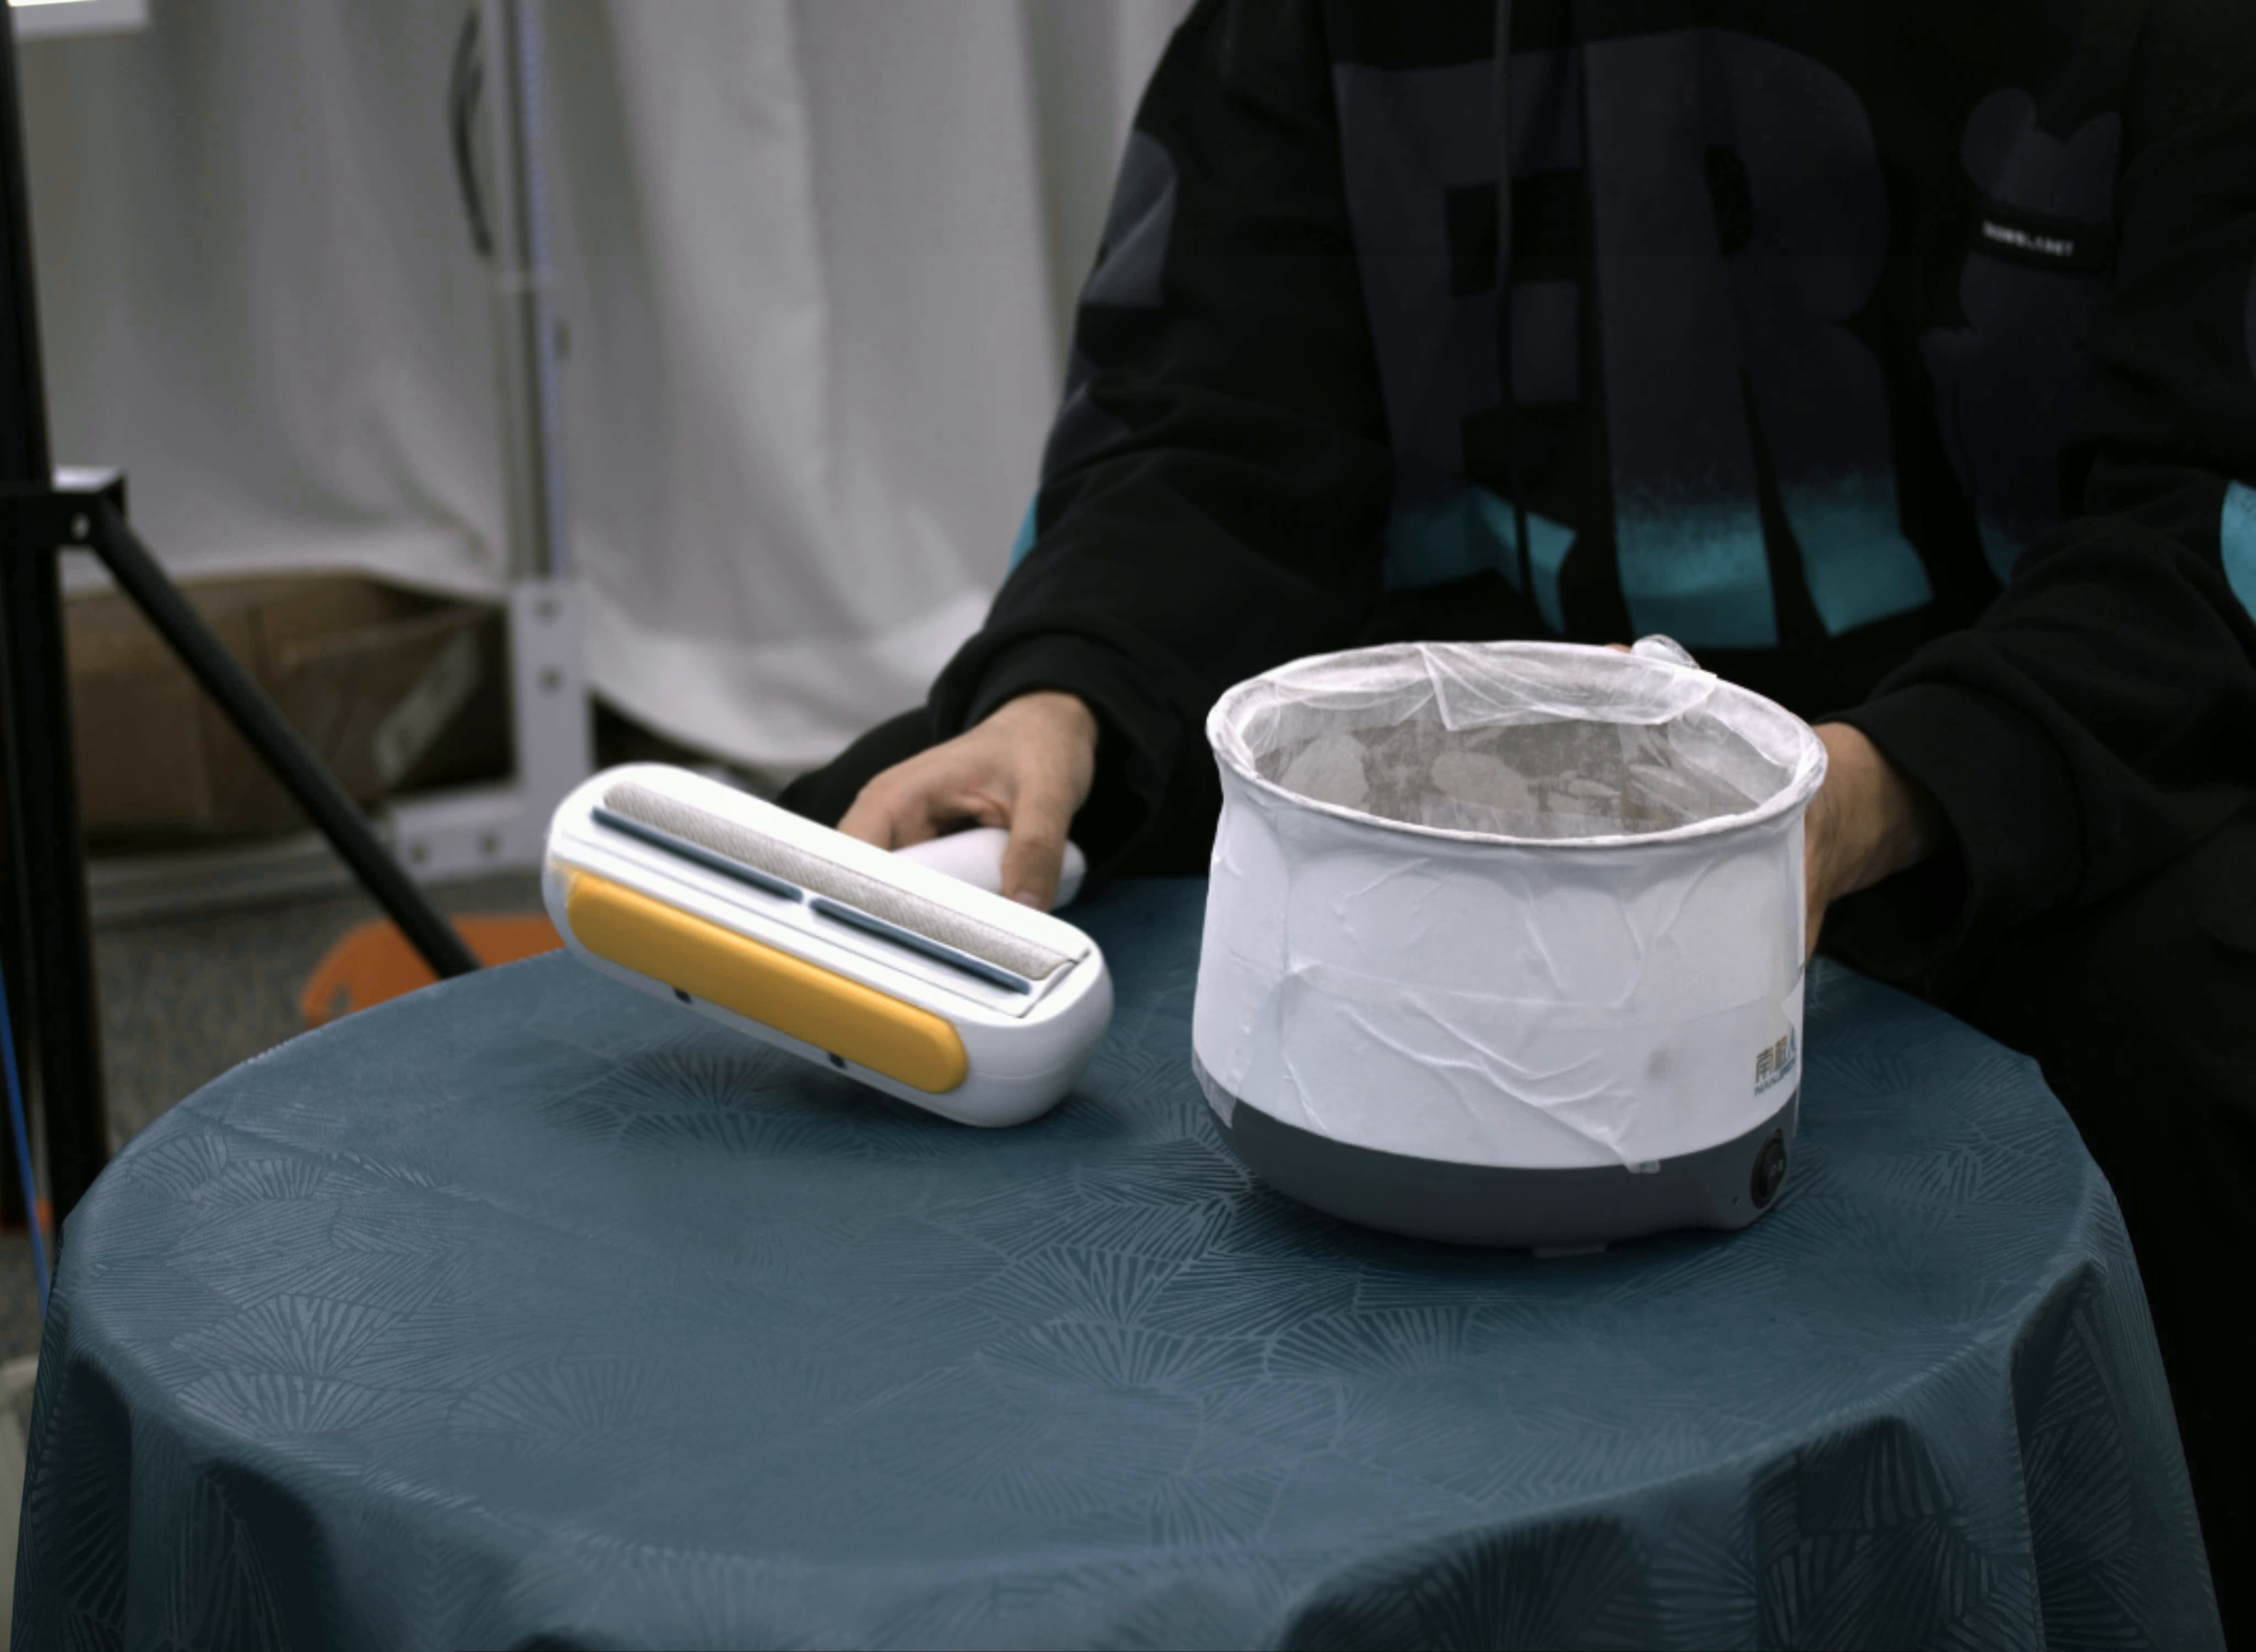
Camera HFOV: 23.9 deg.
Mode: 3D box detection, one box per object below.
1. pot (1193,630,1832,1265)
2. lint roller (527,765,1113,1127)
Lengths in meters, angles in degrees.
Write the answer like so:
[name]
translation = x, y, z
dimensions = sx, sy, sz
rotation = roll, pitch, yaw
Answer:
[pot]
translation = 0.121, 0.027, 1.549
dimensions = 0.182, 0.136, 0.230
rotation = 13, 23, 26
[lint roller]
translation = -0.069, 0.024, 1.706
dimensions = 0.196, 0.074, 0.189
rotation = 18, 29, 30
